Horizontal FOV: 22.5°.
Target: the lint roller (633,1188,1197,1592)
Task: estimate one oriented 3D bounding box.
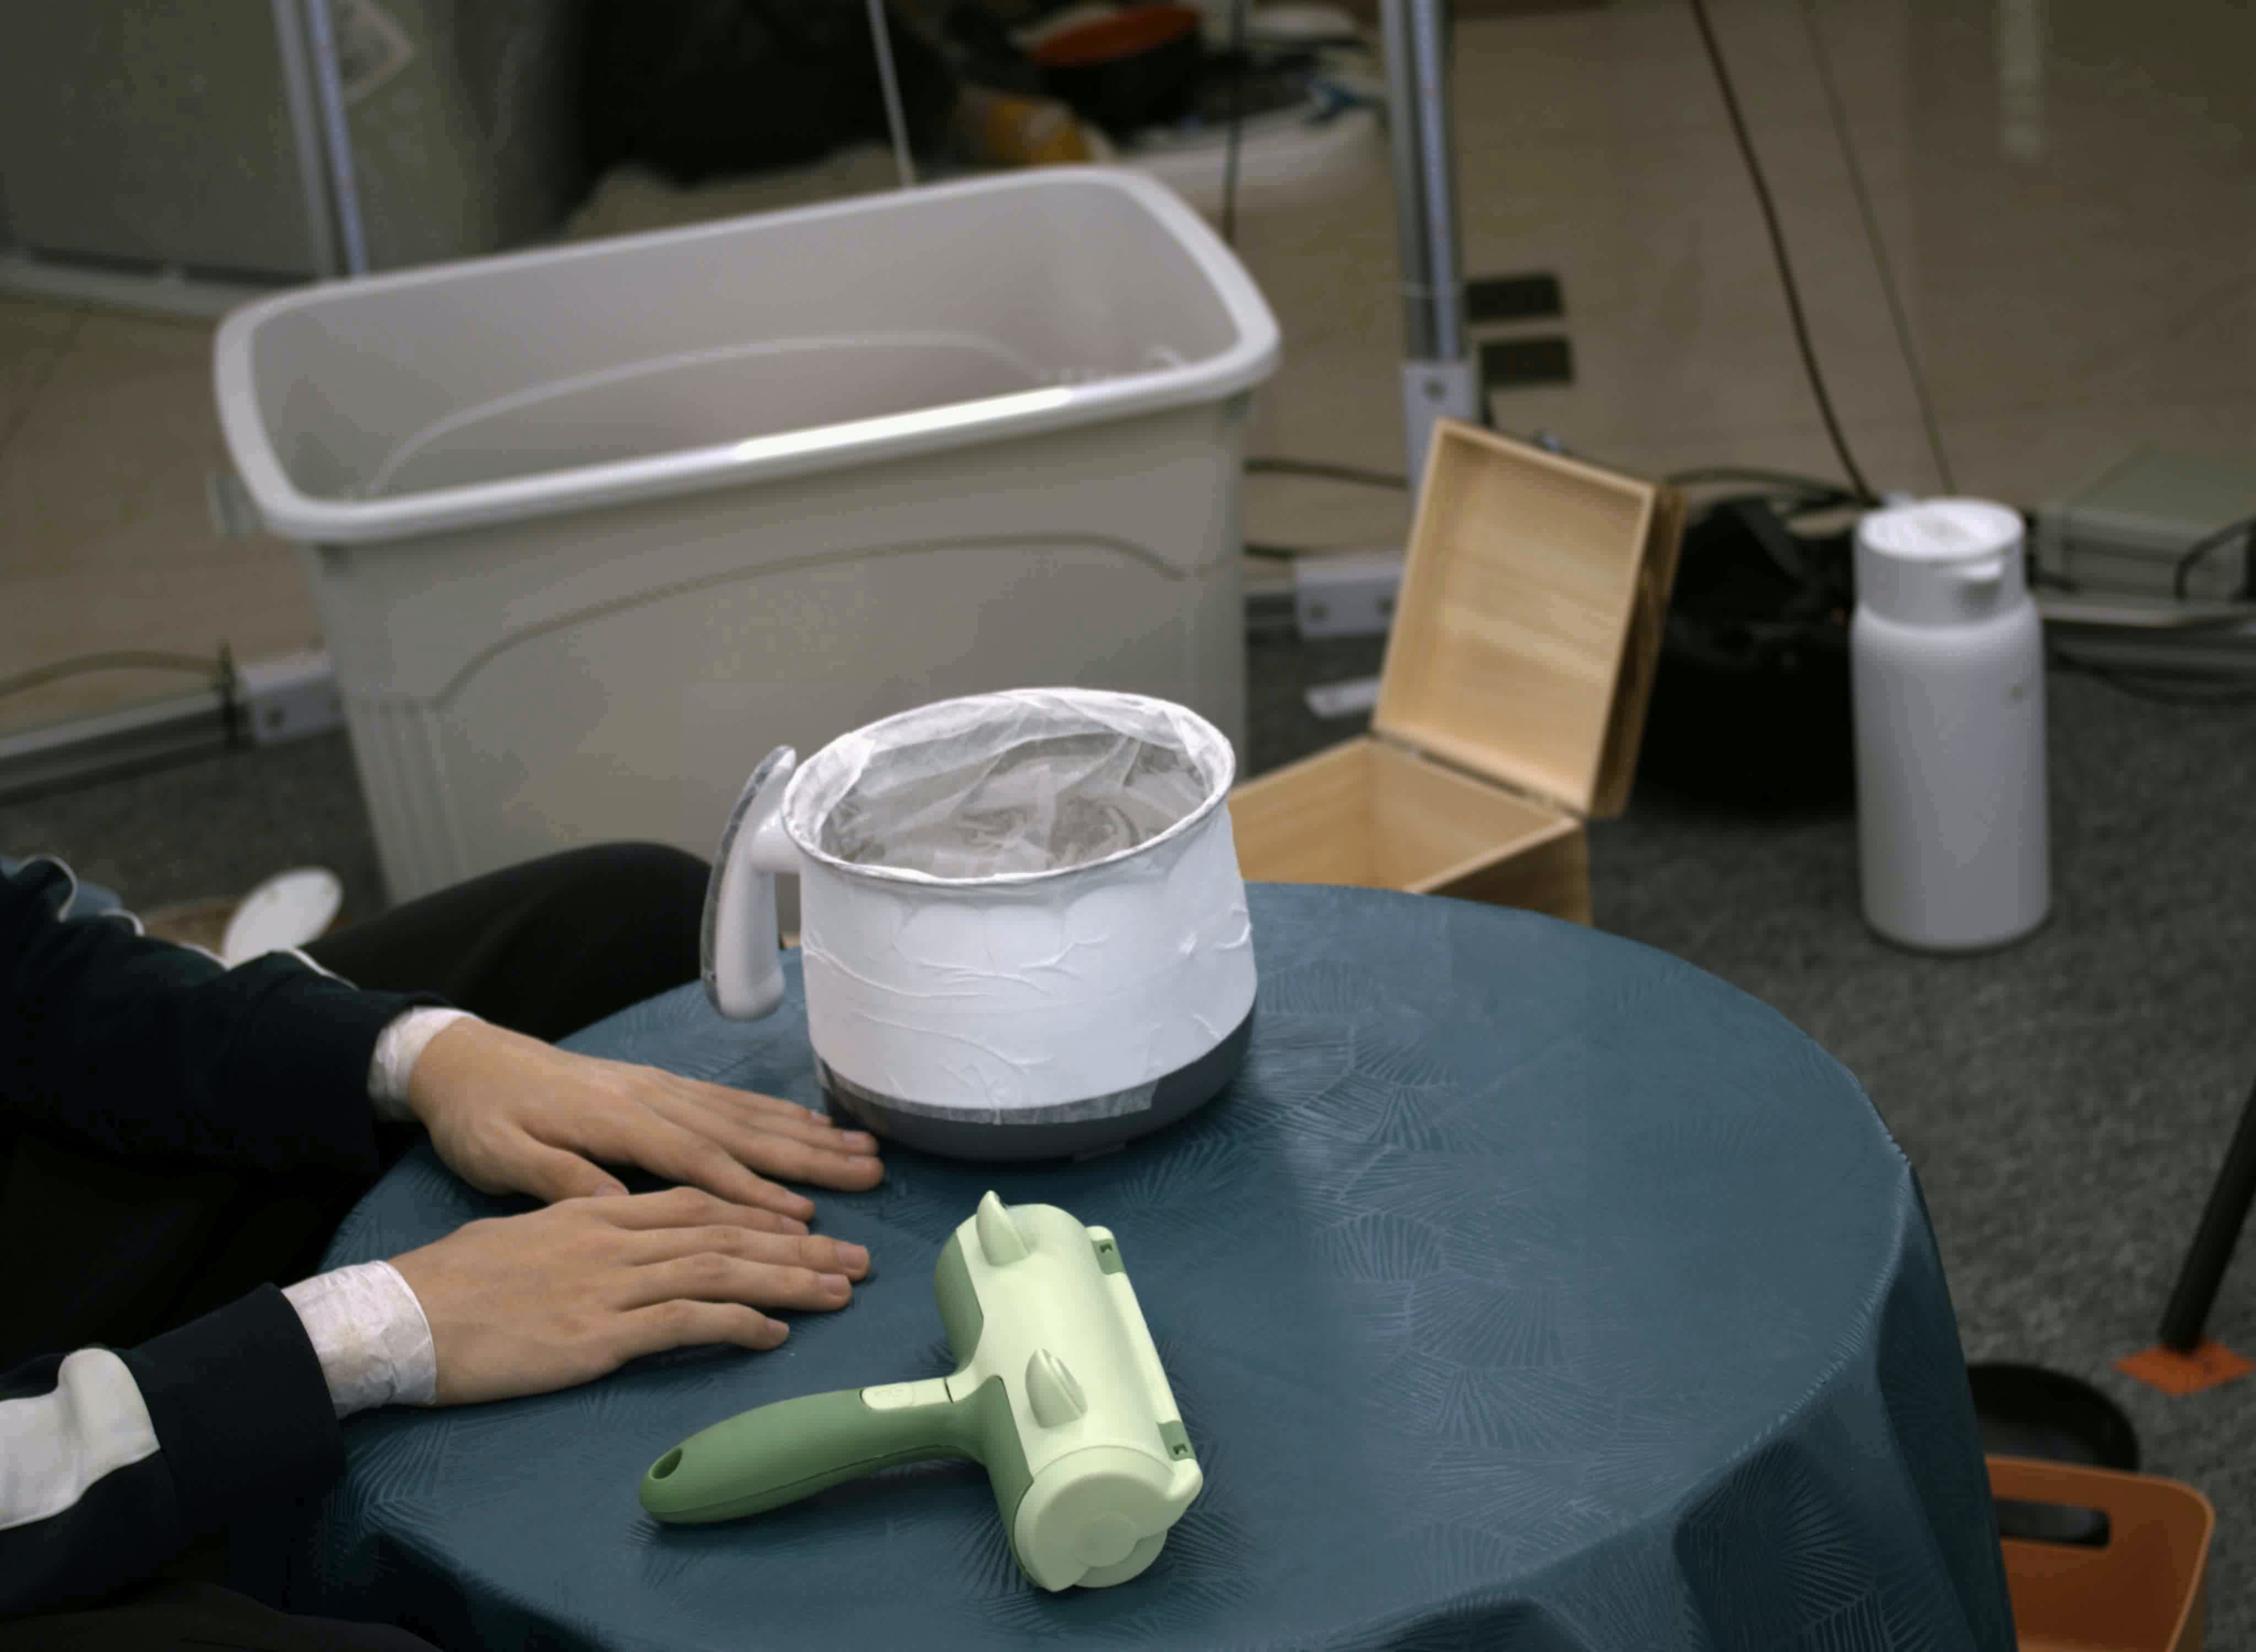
[{"bbox_3d":[-0.081,0.193,1.959,0.183,0.083,0.196,-5,25,-8],"label":"lint roller"}]

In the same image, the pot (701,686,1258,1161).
[{"bbox_3d":[-0.065,0.037,2.213,0.233,0.139,0.176,7,28,24],"label":"pot"}]
